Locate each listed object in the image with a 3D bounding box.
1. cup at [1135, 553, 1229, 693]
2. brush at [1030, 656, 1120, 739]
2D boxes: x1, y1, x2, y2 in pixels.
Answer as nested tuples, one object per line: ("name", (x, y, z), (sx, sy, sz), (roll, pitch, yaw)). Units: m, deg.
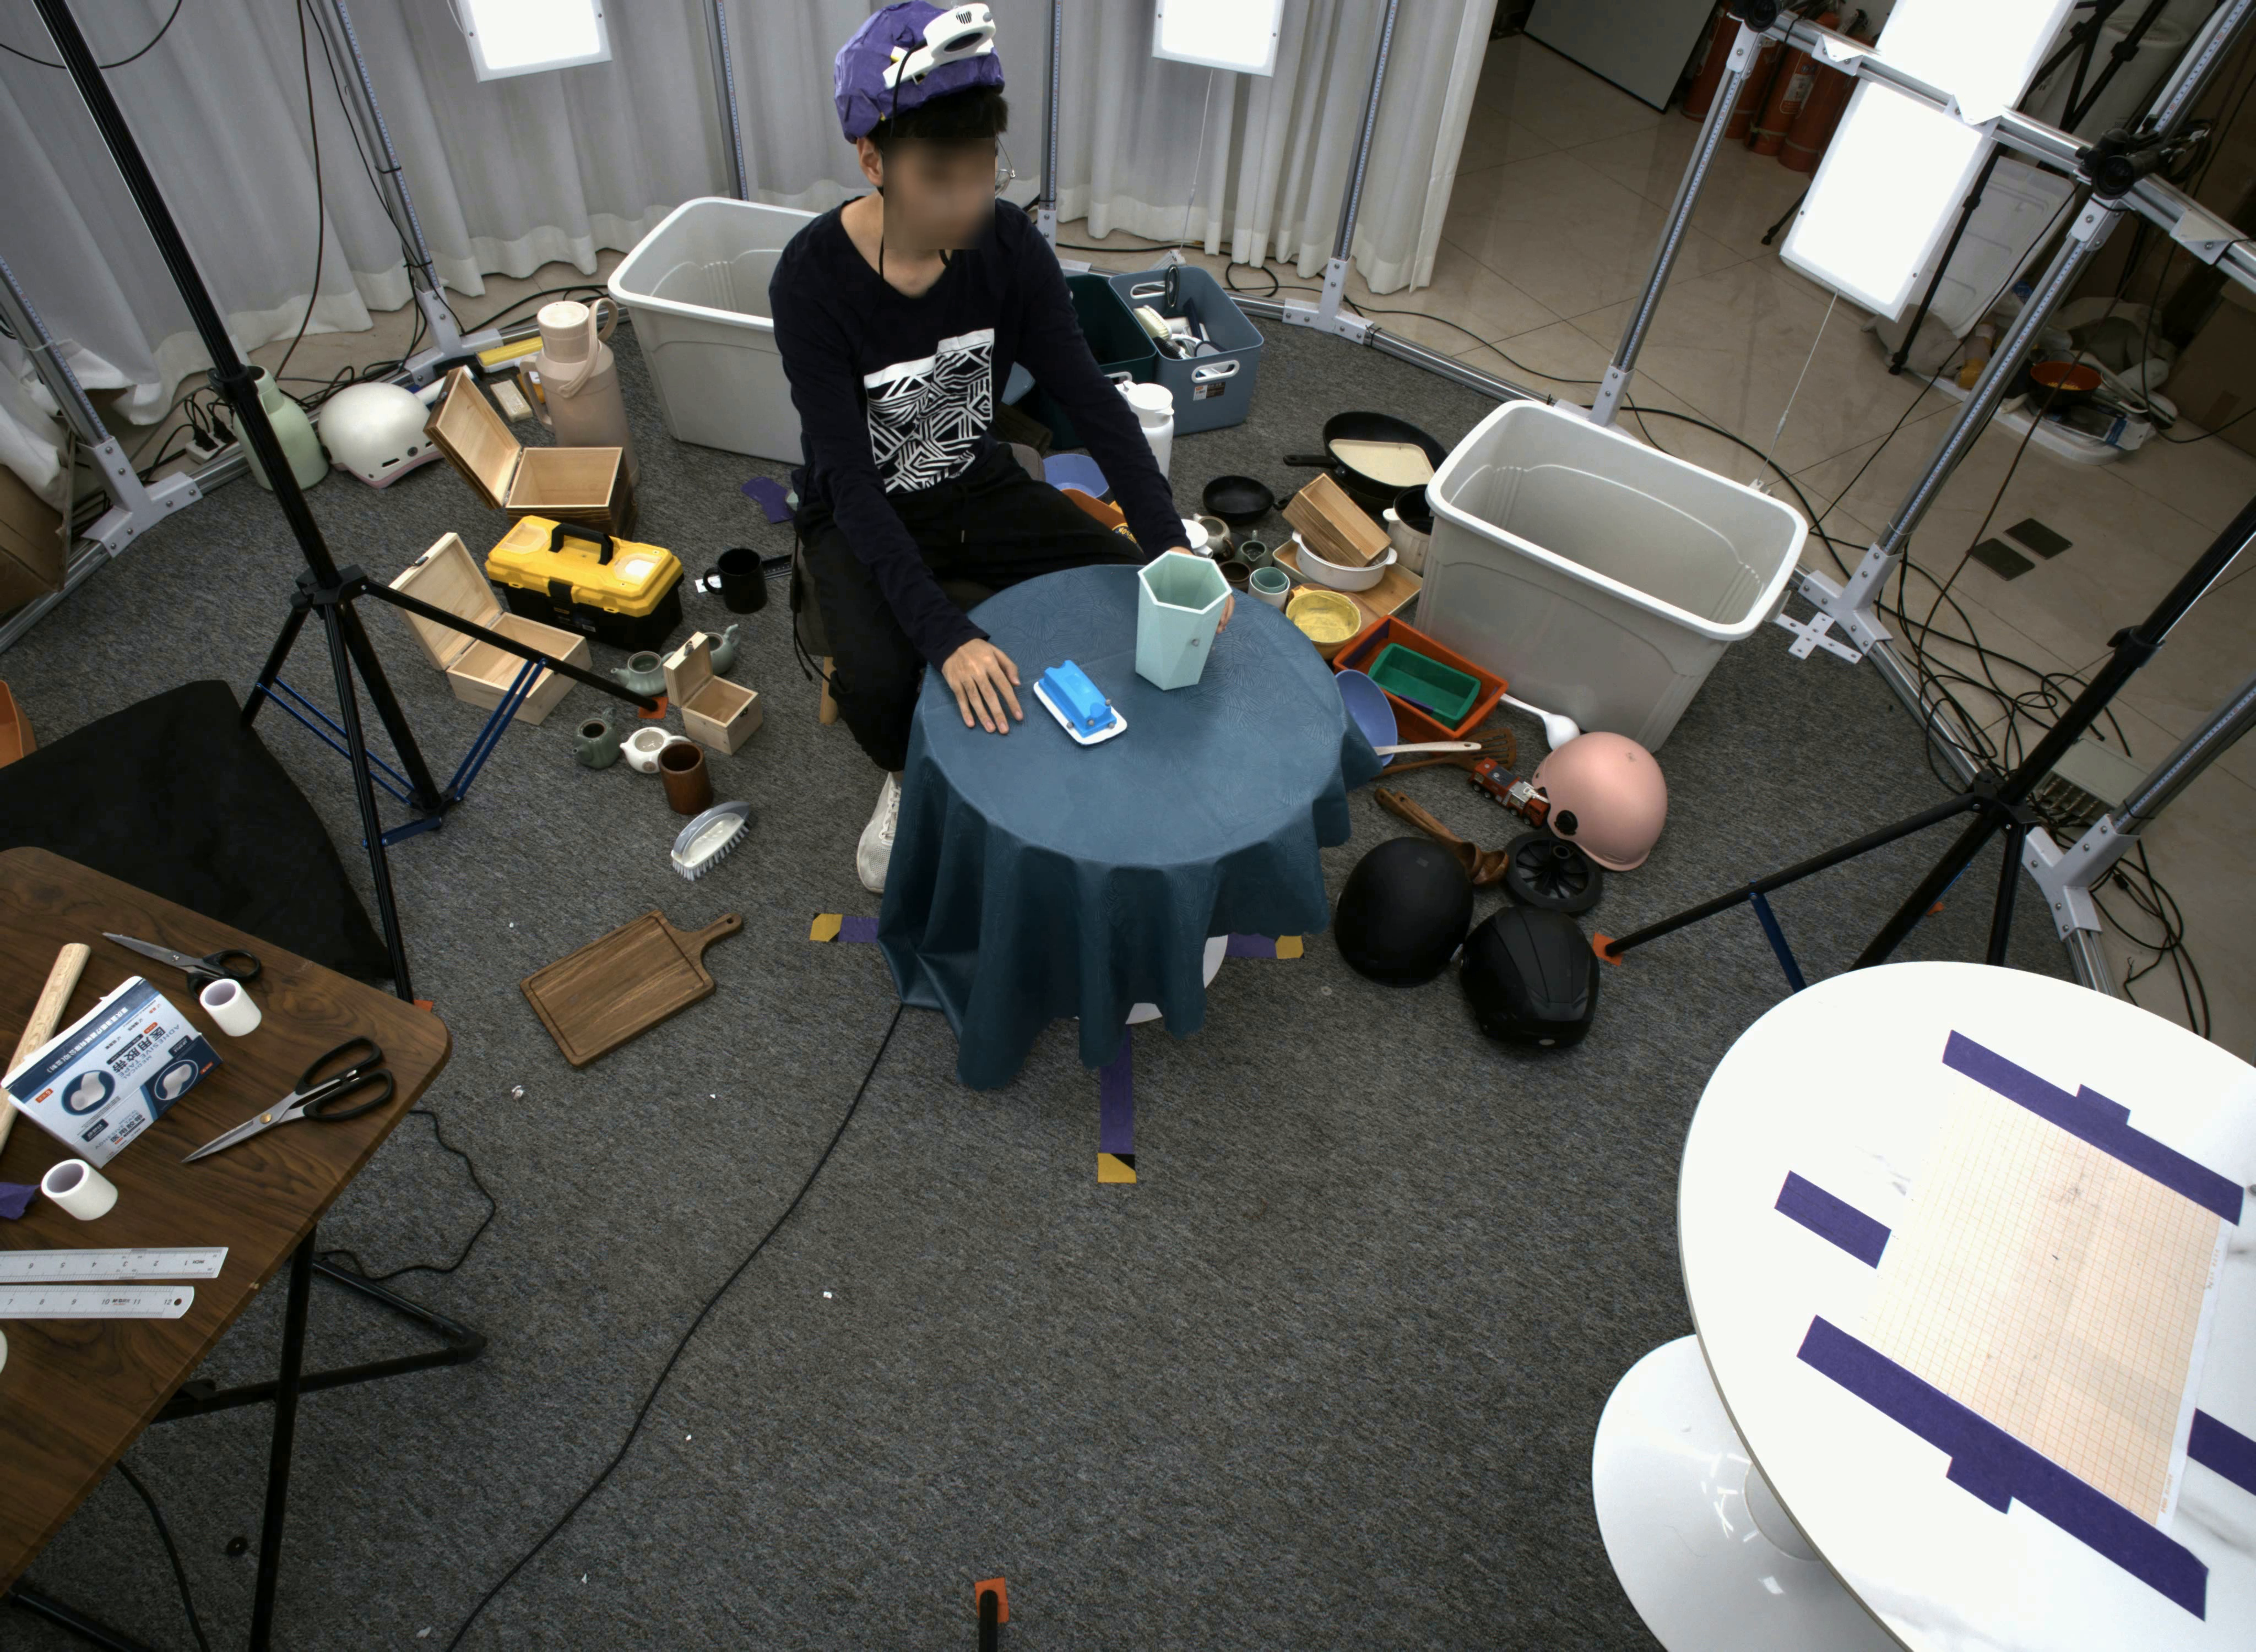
("cup", (0.069, -0.281, 1.811), (0.116, 0.159, 0.132), (33, 53, 23))
("brush", (-0.072, -0.186, 1.785), (0.084, 0.054, 0.147), (-21, 55, -24))
